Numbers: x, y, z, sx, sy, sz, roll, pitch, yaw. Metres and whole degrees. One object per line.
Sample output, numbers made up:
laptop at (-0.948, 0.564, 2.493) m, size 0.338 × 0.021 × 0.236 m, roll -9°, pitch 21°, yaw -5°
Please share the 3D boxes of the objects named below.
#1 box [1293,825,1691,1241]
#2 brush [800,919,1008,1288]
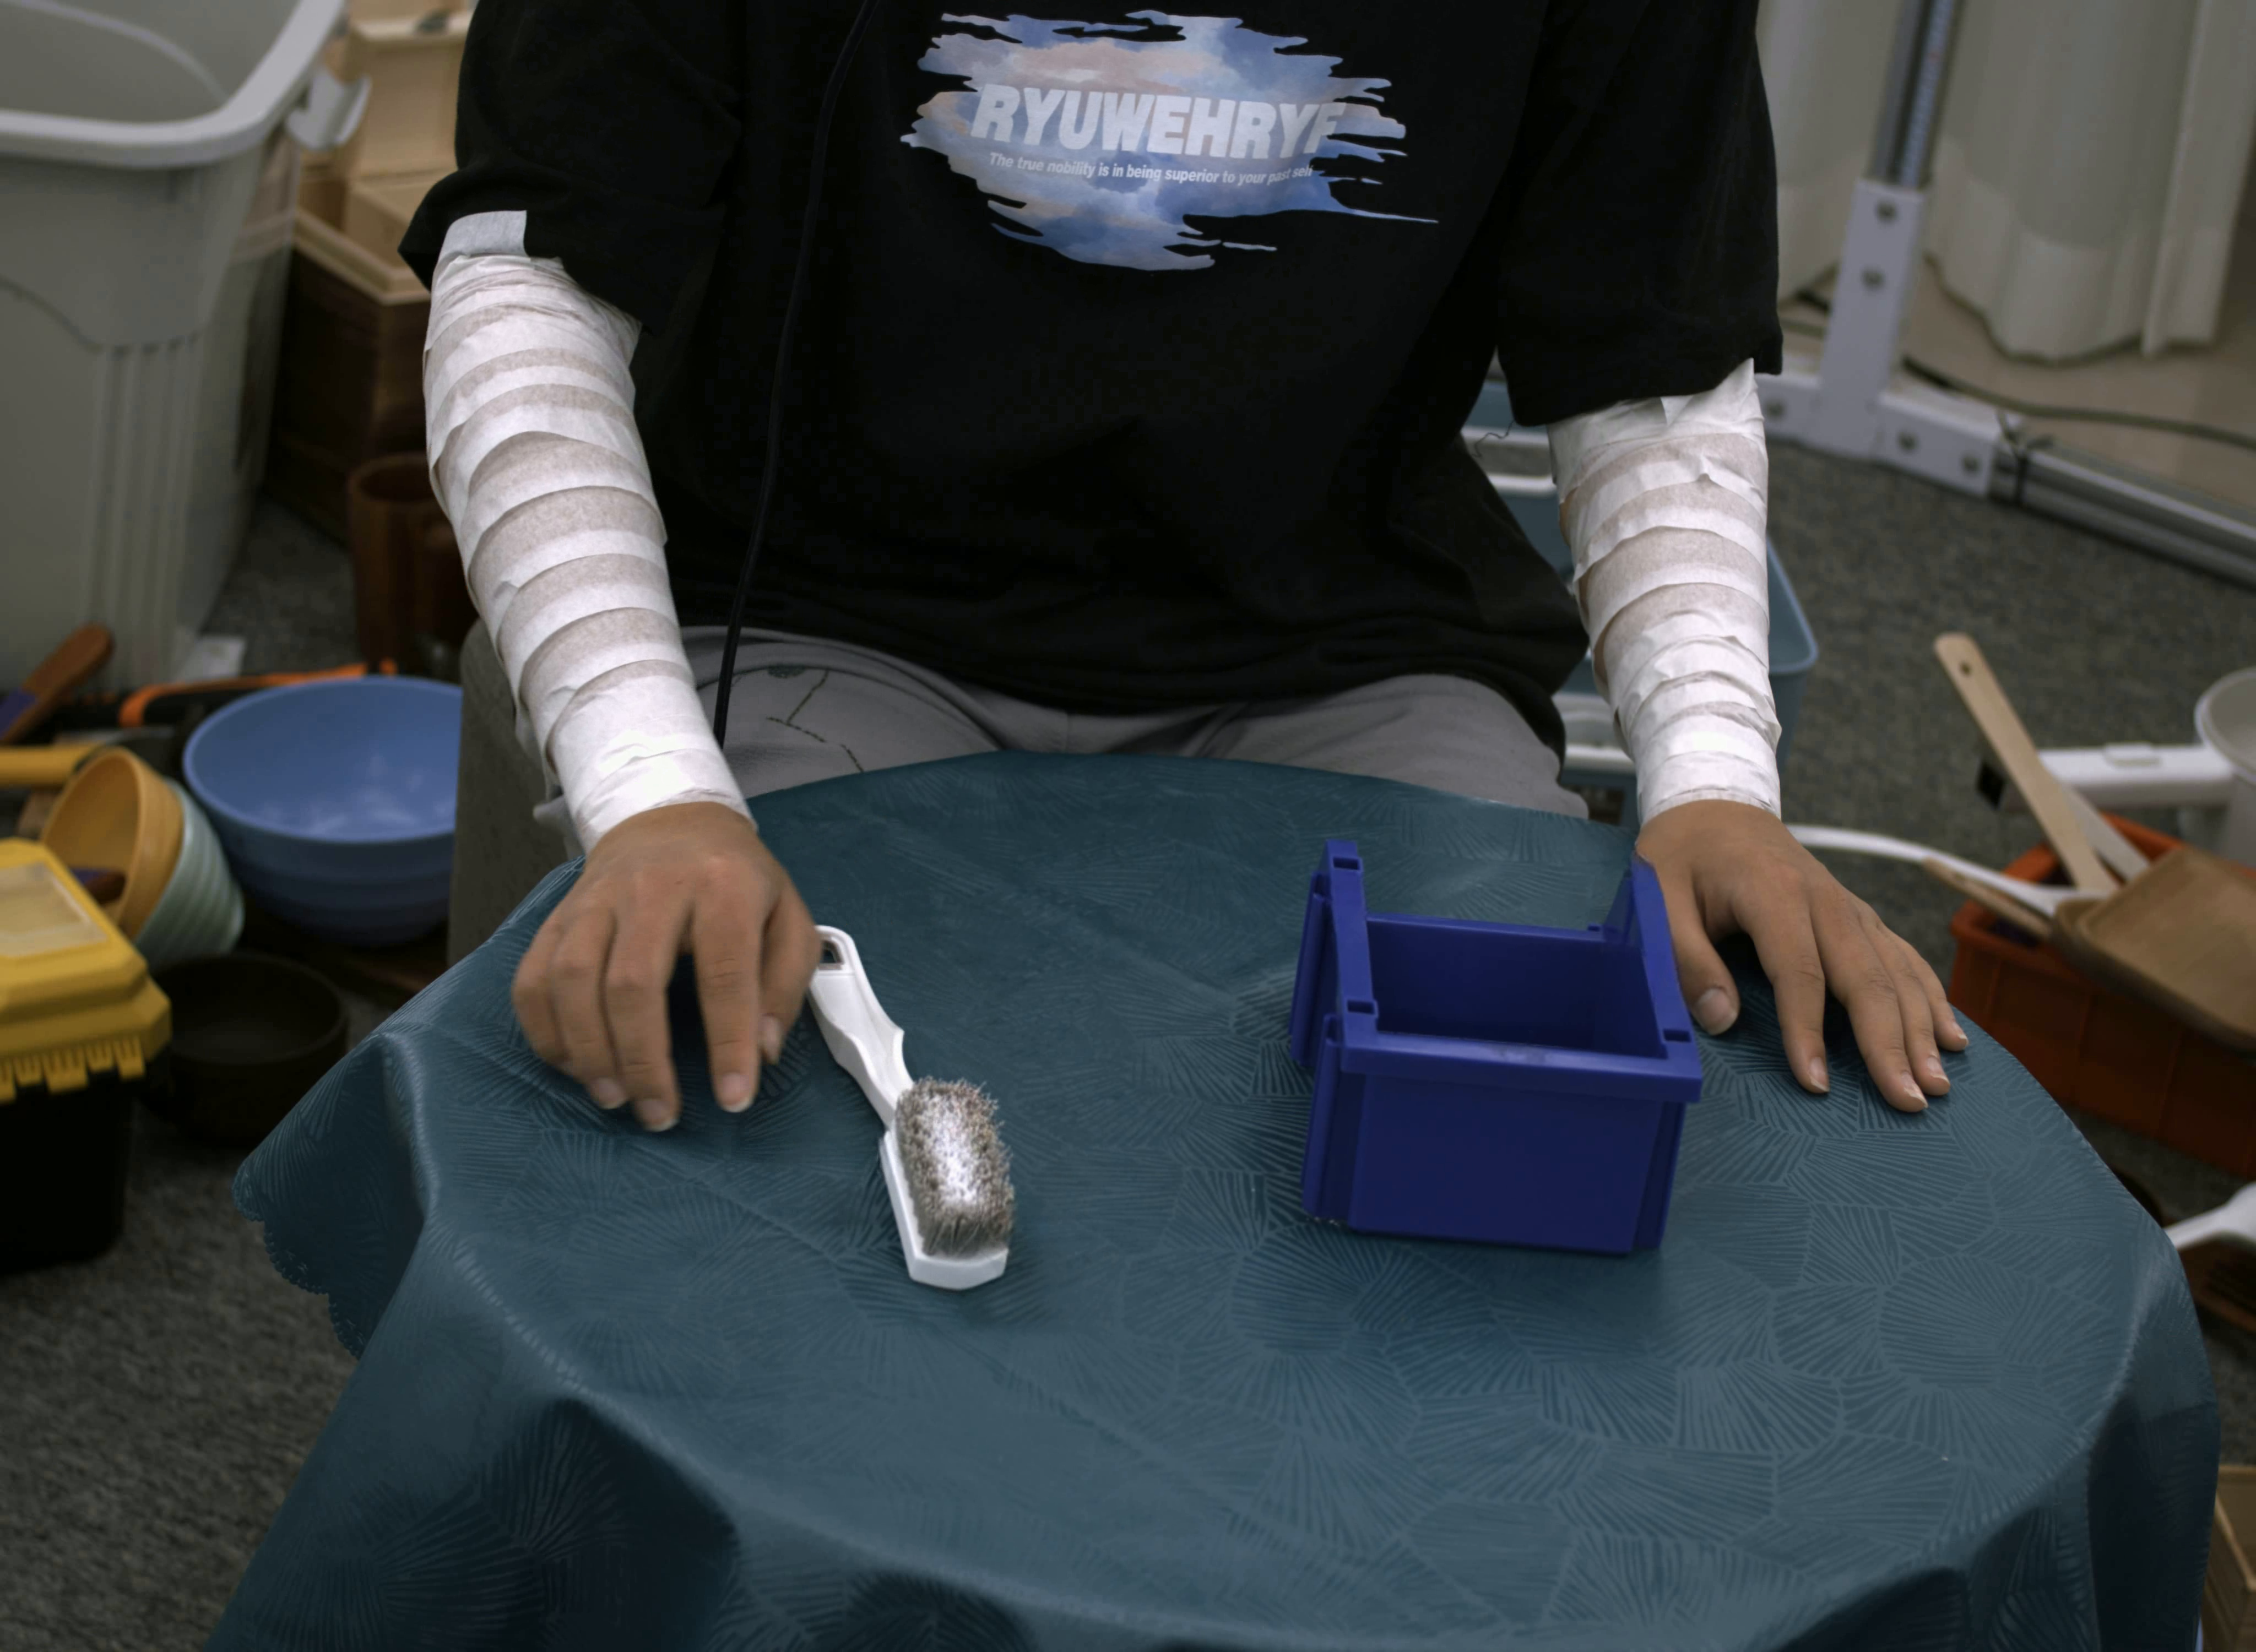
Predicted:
box at (0.123, 0.067, 1.854) m, size 0.124 × 0.081 × 0.180 m, roll 6°, pitch 28°, yaw -2°
brush at (-0.080, 0.077, 1.822) m, size 0.034 × 0.050 × 0.246 m, roll 0°, pitch 28°, yaw -14°
